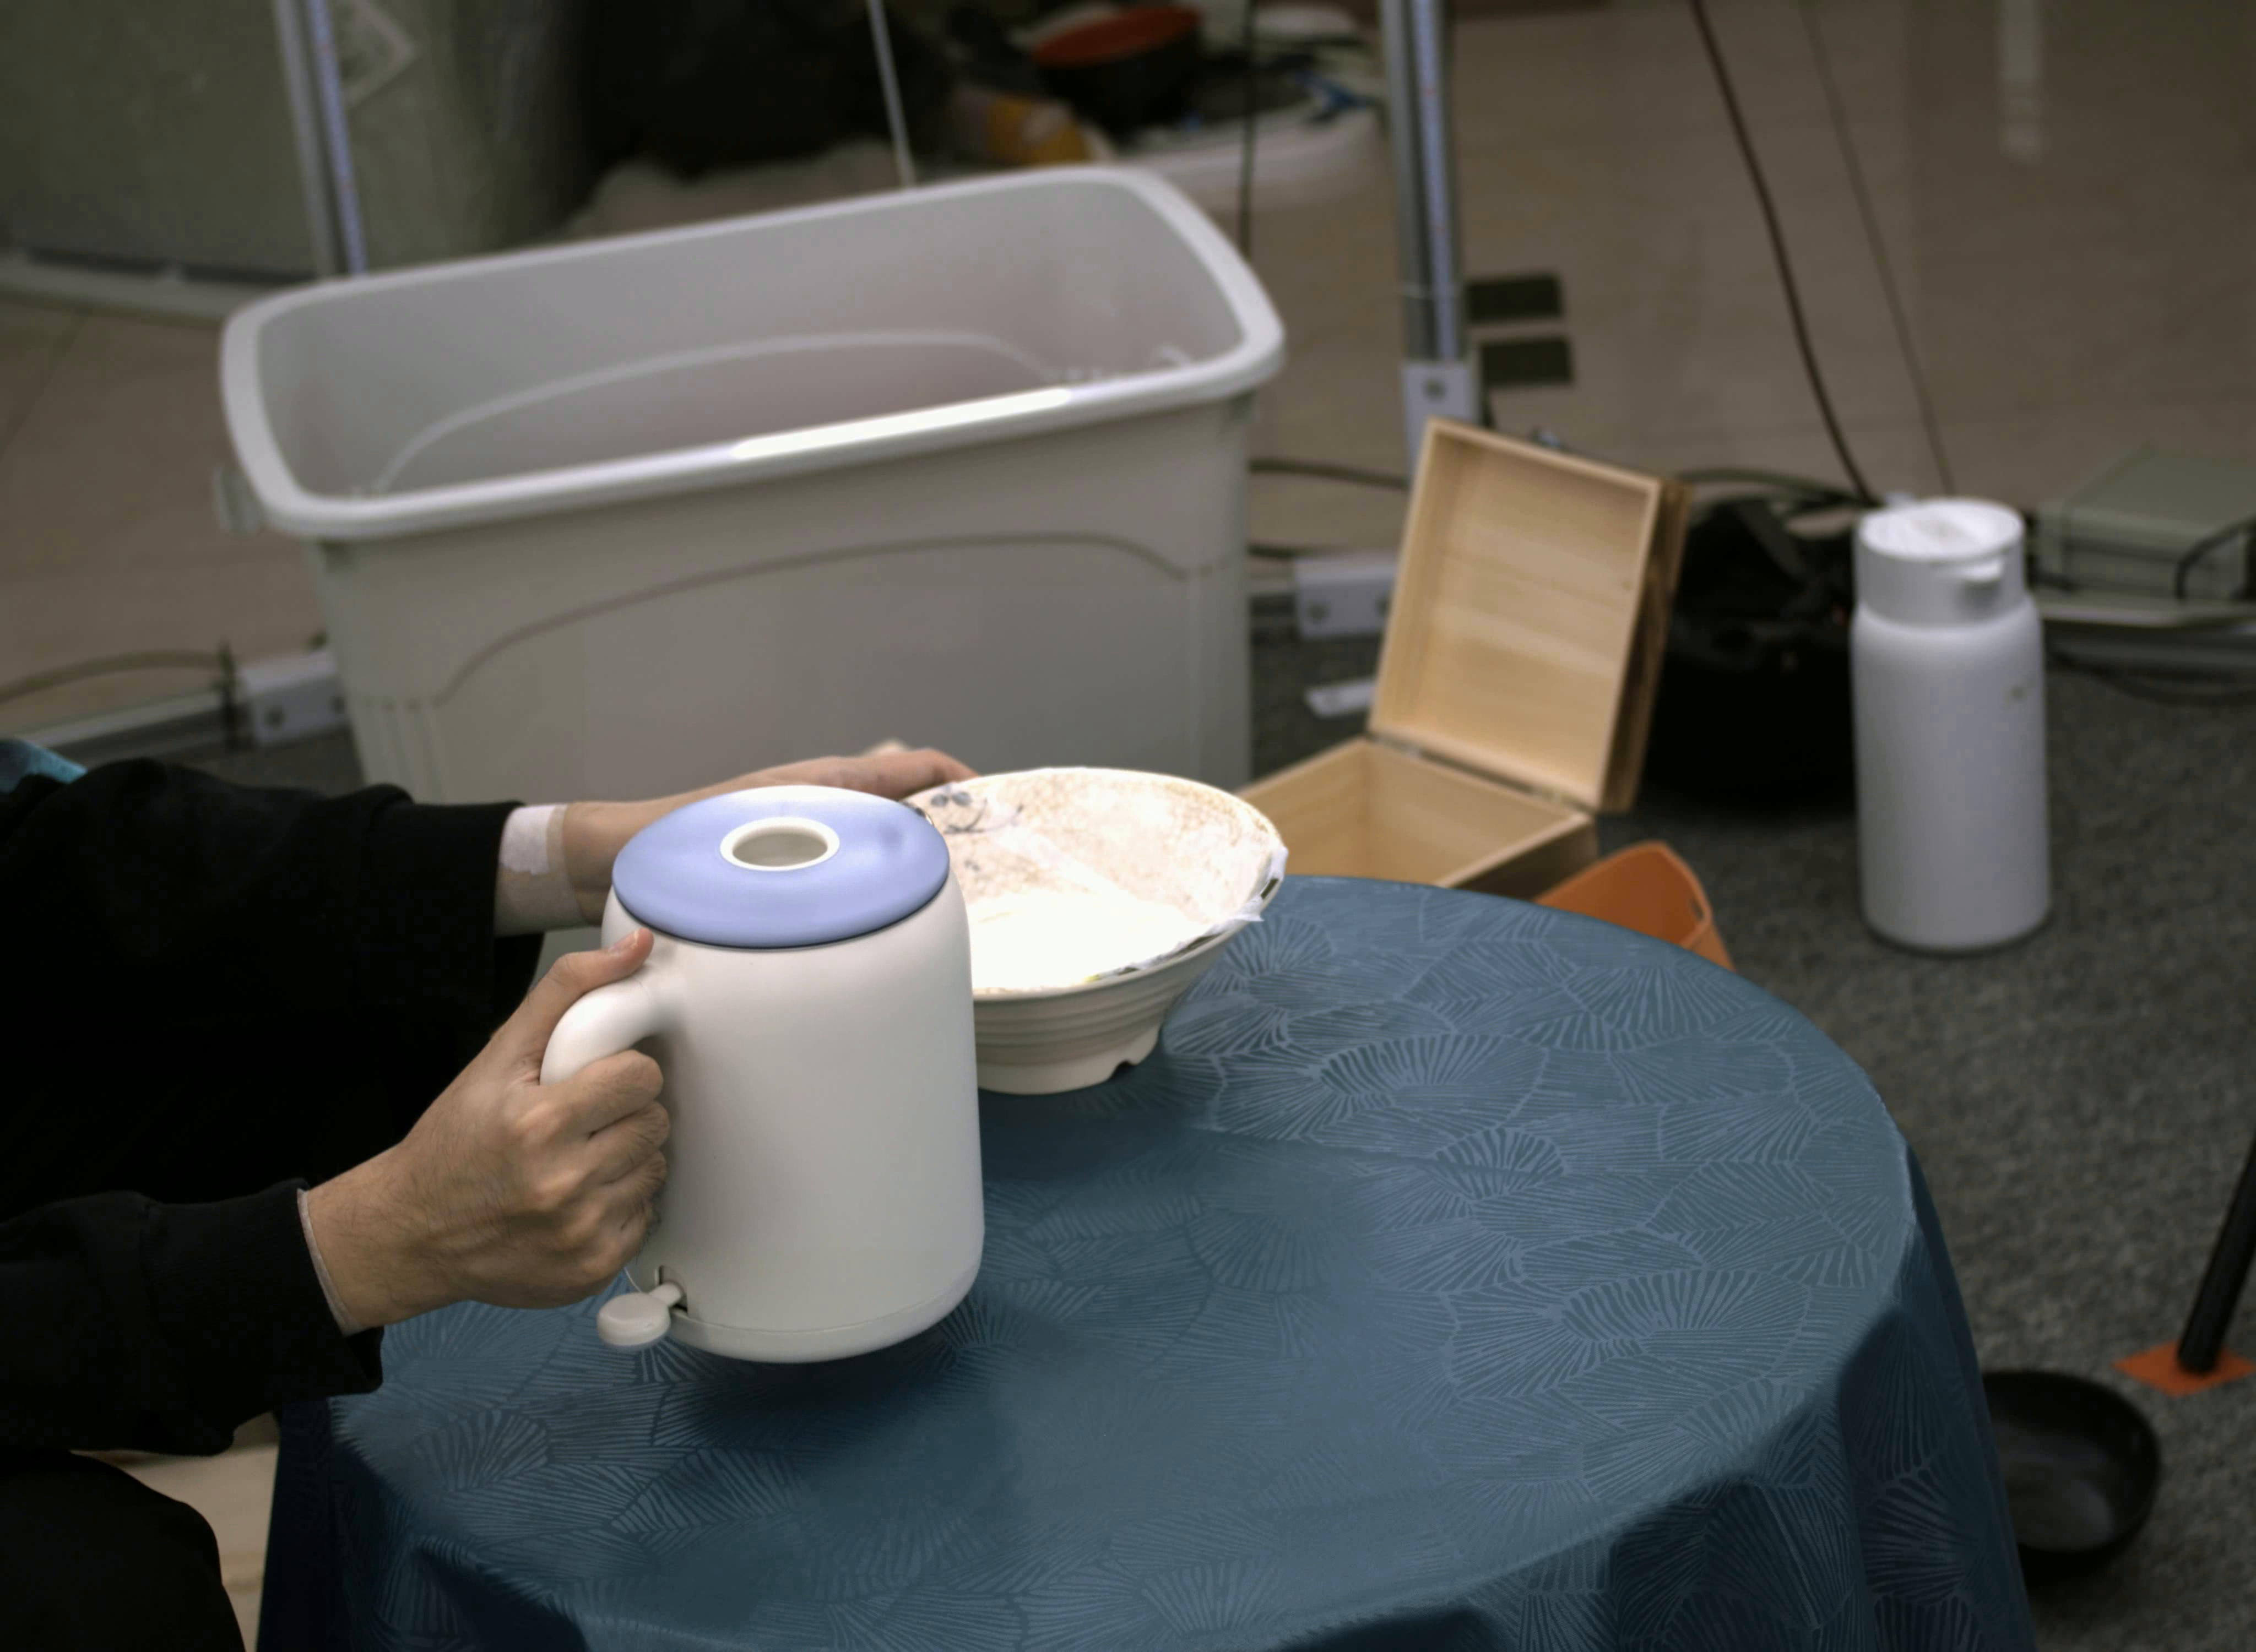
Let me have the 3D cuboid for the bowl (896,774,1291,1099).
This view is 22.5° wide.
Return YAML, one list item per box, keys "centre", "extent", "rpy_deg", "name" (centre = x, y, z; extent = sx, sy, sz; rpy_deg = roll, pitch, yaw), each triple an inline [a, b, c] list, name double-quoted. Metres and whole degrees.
- centre: [-0.032, 0.054, 2.243]
  extent: [0.204, 0.079, 0.201]
  rpy_deg: [-7, 24, 3]
  name: "bowl"

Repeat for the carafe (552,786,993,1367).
- centre: [-0.134, 0.098, 1.998]
  extent: [0.131, 0.185, 0.189]
  rpy_deg: [19, 36, 37]
  name: "carafe"
